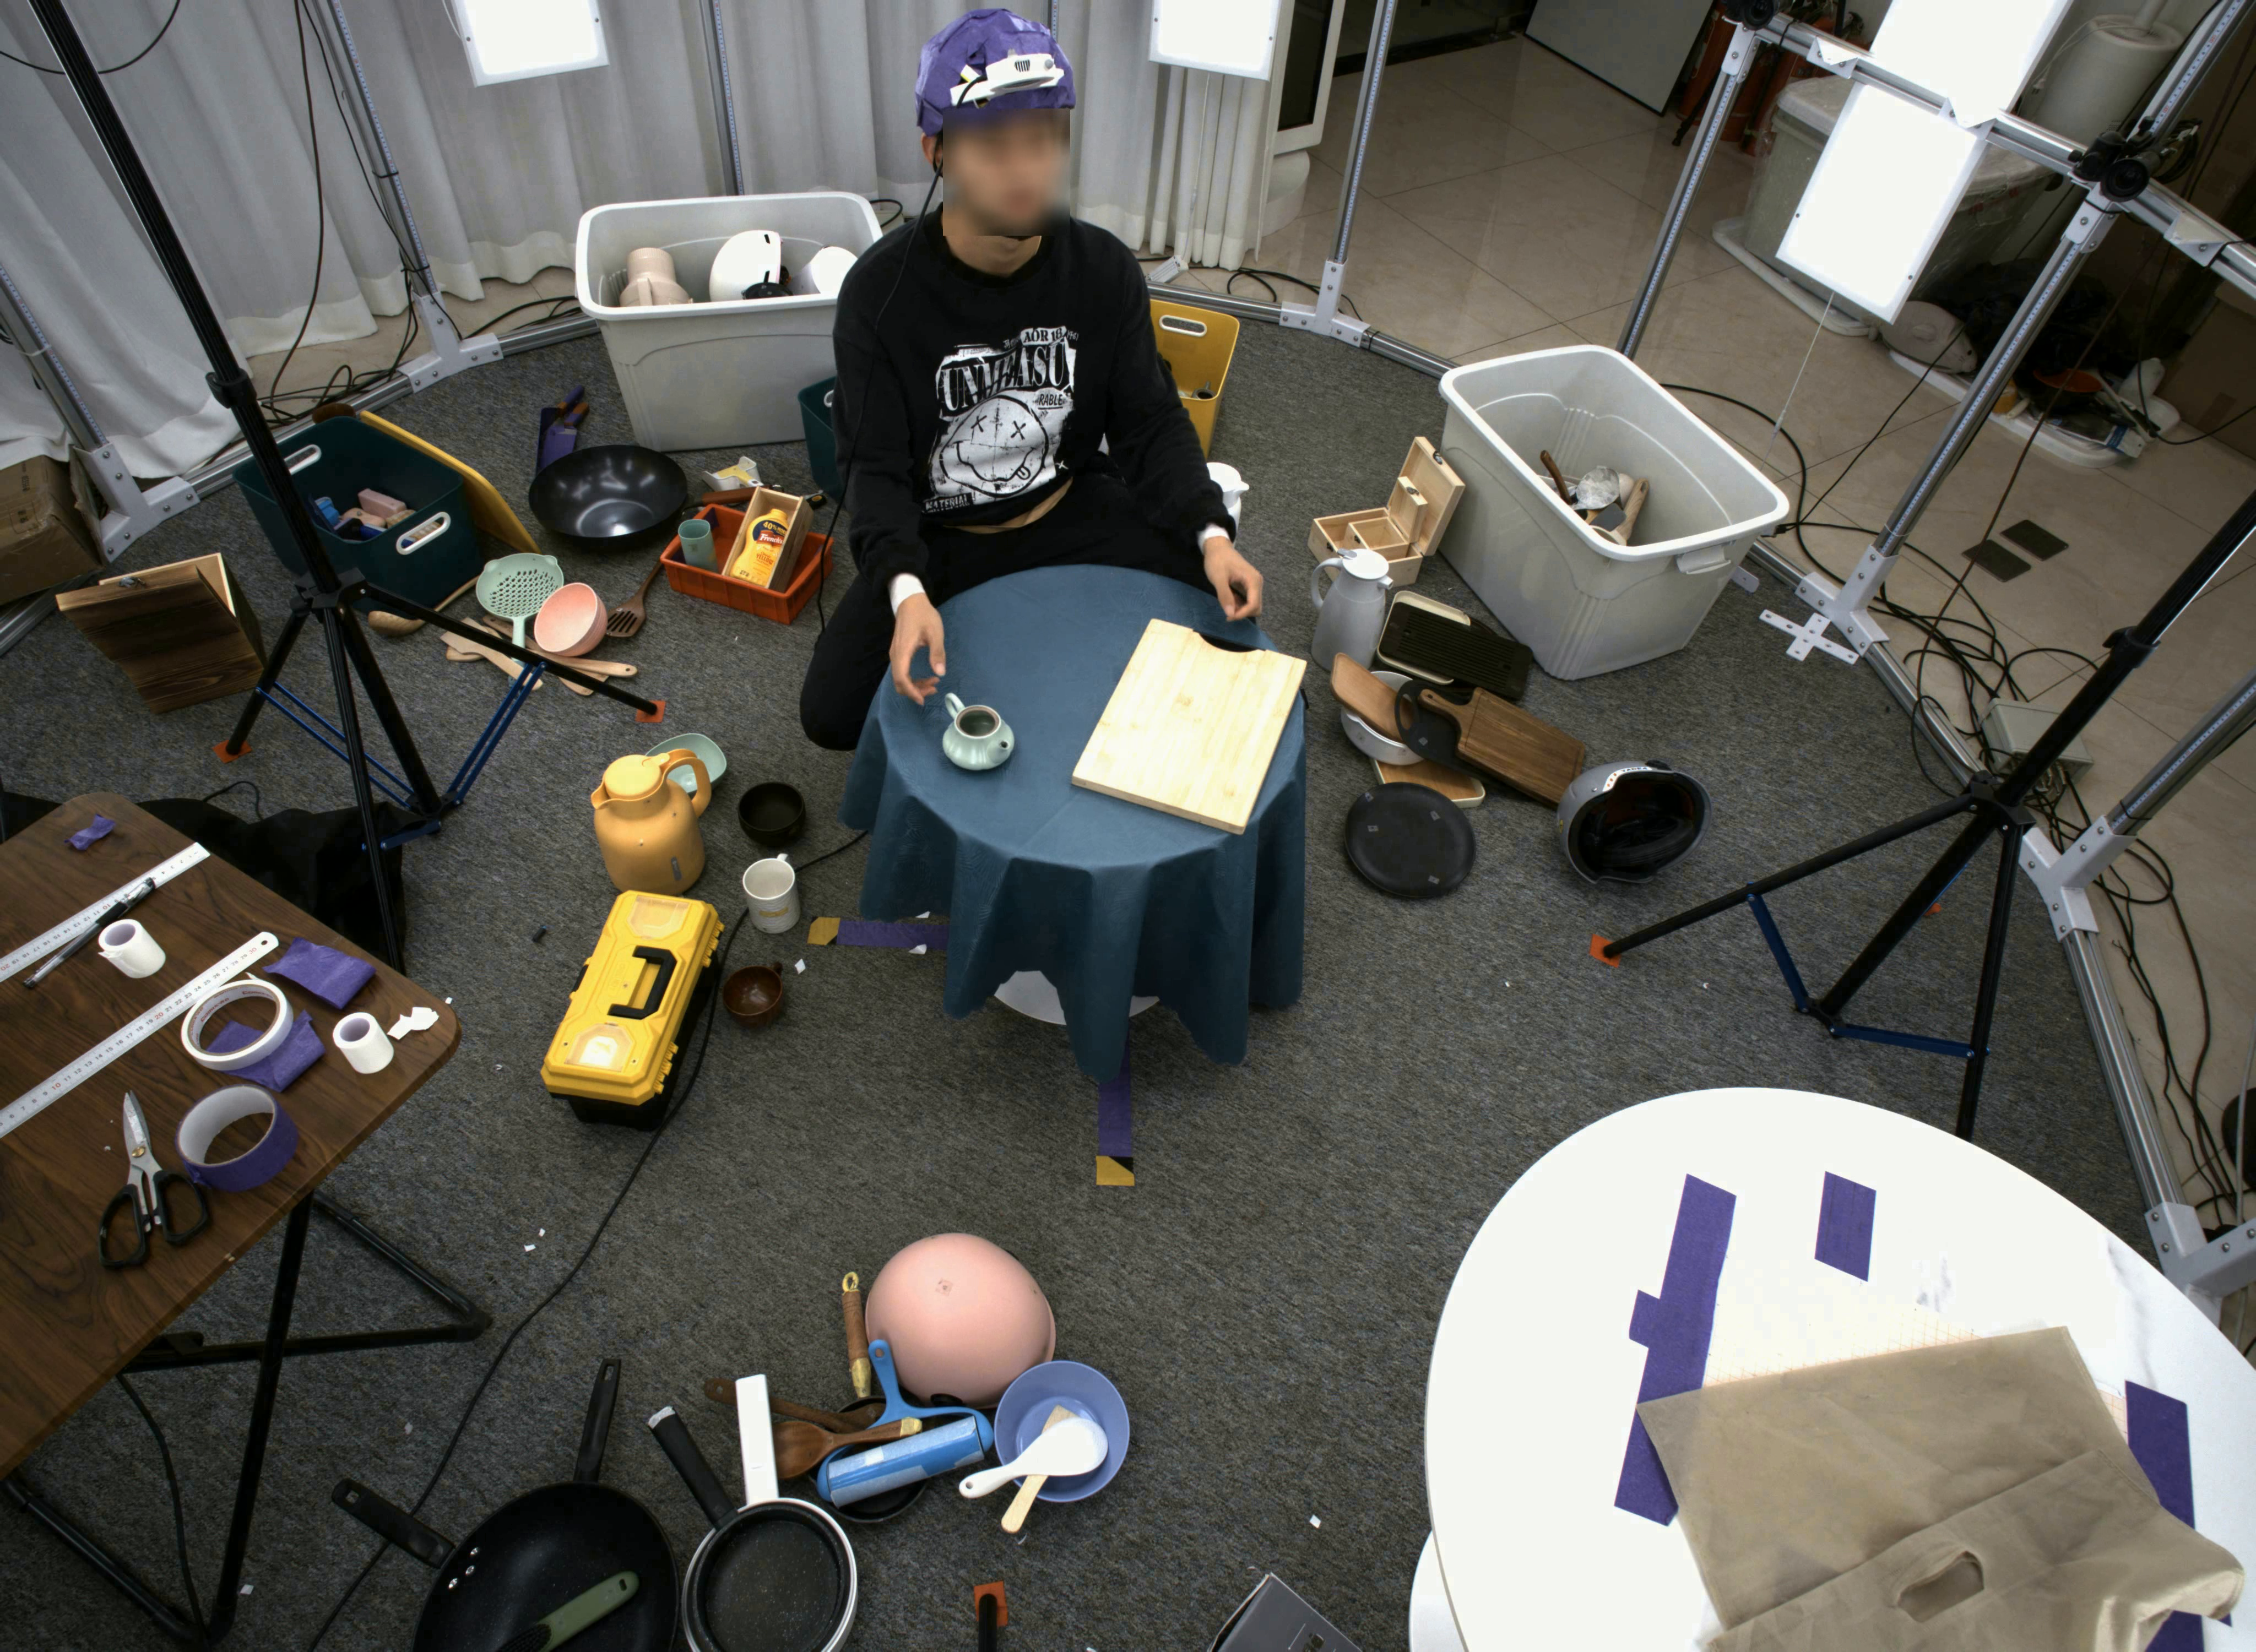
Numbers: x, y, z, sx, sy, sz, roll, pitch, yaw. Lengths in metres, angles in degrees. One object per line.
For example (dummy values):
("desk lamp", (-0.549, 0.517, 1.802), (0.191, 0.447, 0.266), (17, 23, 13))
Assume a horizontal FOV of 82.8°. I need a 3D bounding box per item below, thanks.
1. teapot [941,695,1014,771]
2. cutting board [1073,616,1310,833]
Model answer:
("teapot", (-0.204, -0.125, 1.726), (0.097, 0.060, 0.139), (-35, 60, -27))
("cutting board", (0.095, -0.152, 1.796), (0.251, 0.023, 0.356), (16, 50, 10))
